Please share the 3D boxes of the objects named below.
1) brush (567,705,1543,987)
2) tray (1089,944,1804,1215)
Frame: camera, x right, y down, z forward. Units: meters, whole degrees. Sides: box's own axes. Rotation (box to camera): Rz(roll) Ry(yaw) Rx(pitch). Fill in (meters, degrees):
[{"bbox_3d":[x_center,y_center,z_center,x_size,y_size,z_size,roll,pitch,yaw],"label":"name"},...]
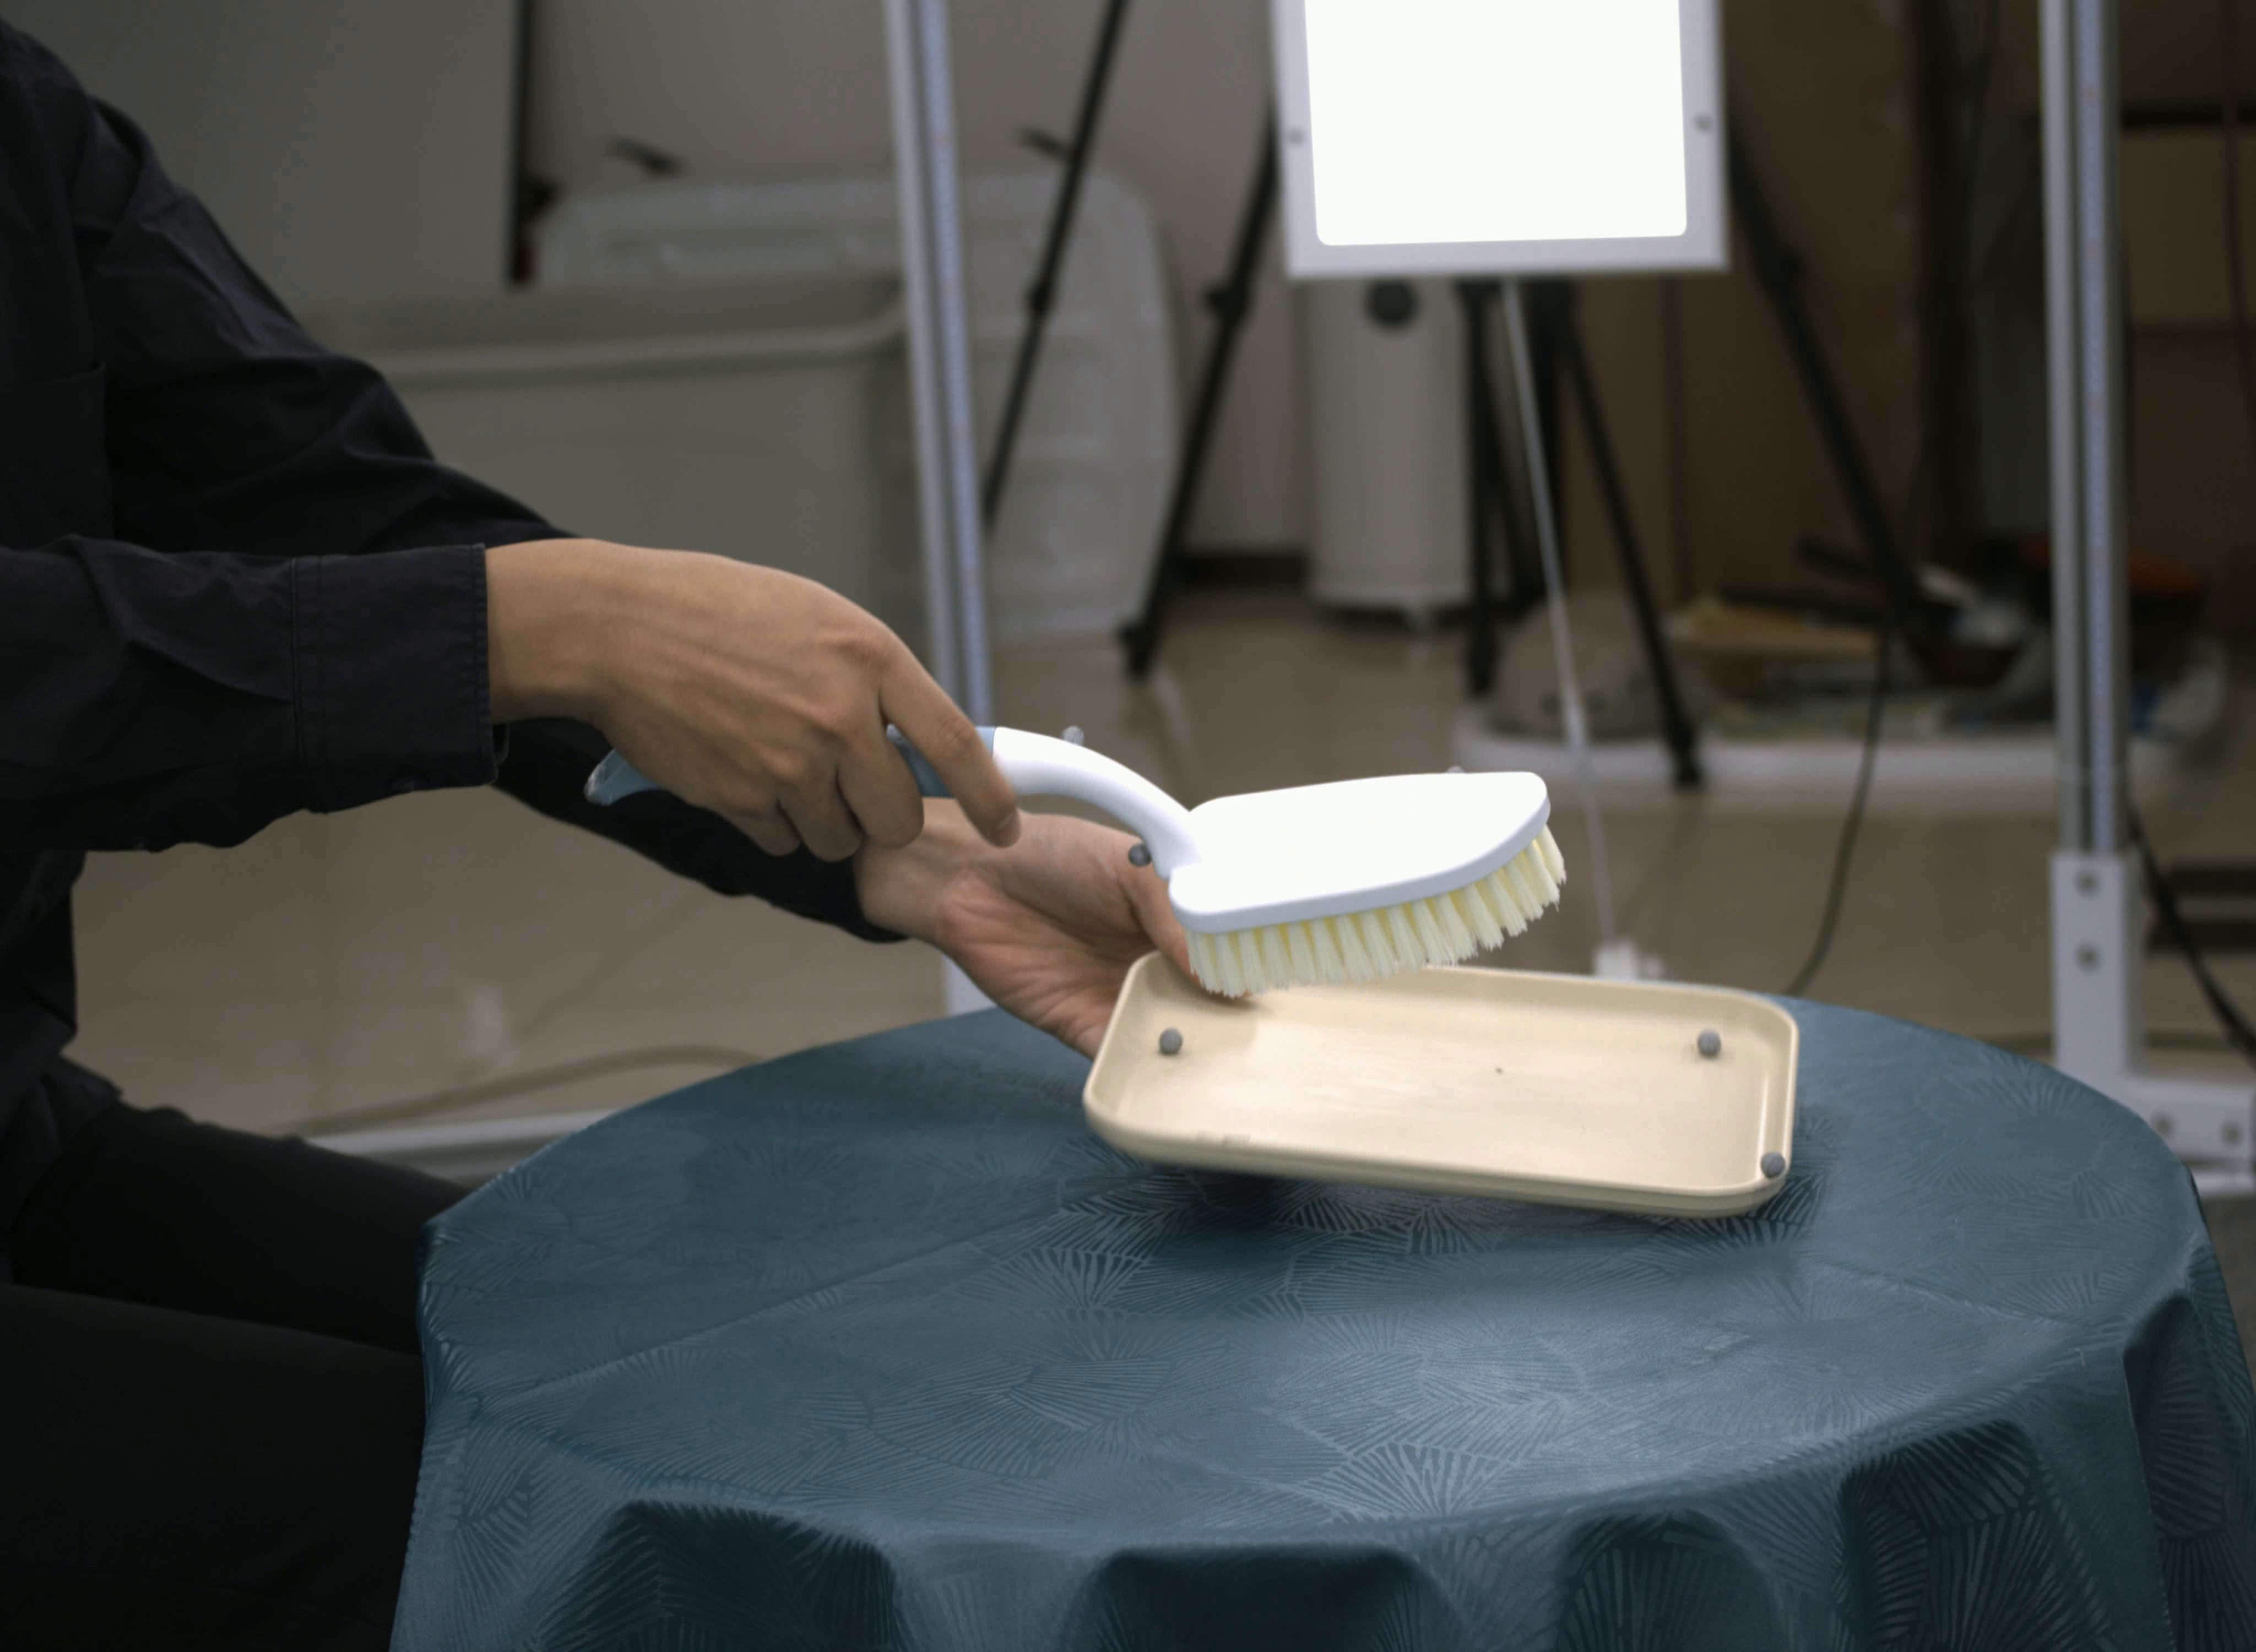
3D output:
[{"bbox_3d":[-0.024,0.009,1.834,0.326,0.085,0.082,2,-3,6],"label":"brush"},{"bbox_3d":[0.112,0.087,1.887,0.241,0.017,0.169,6,20,9],"label":"tray"}]
